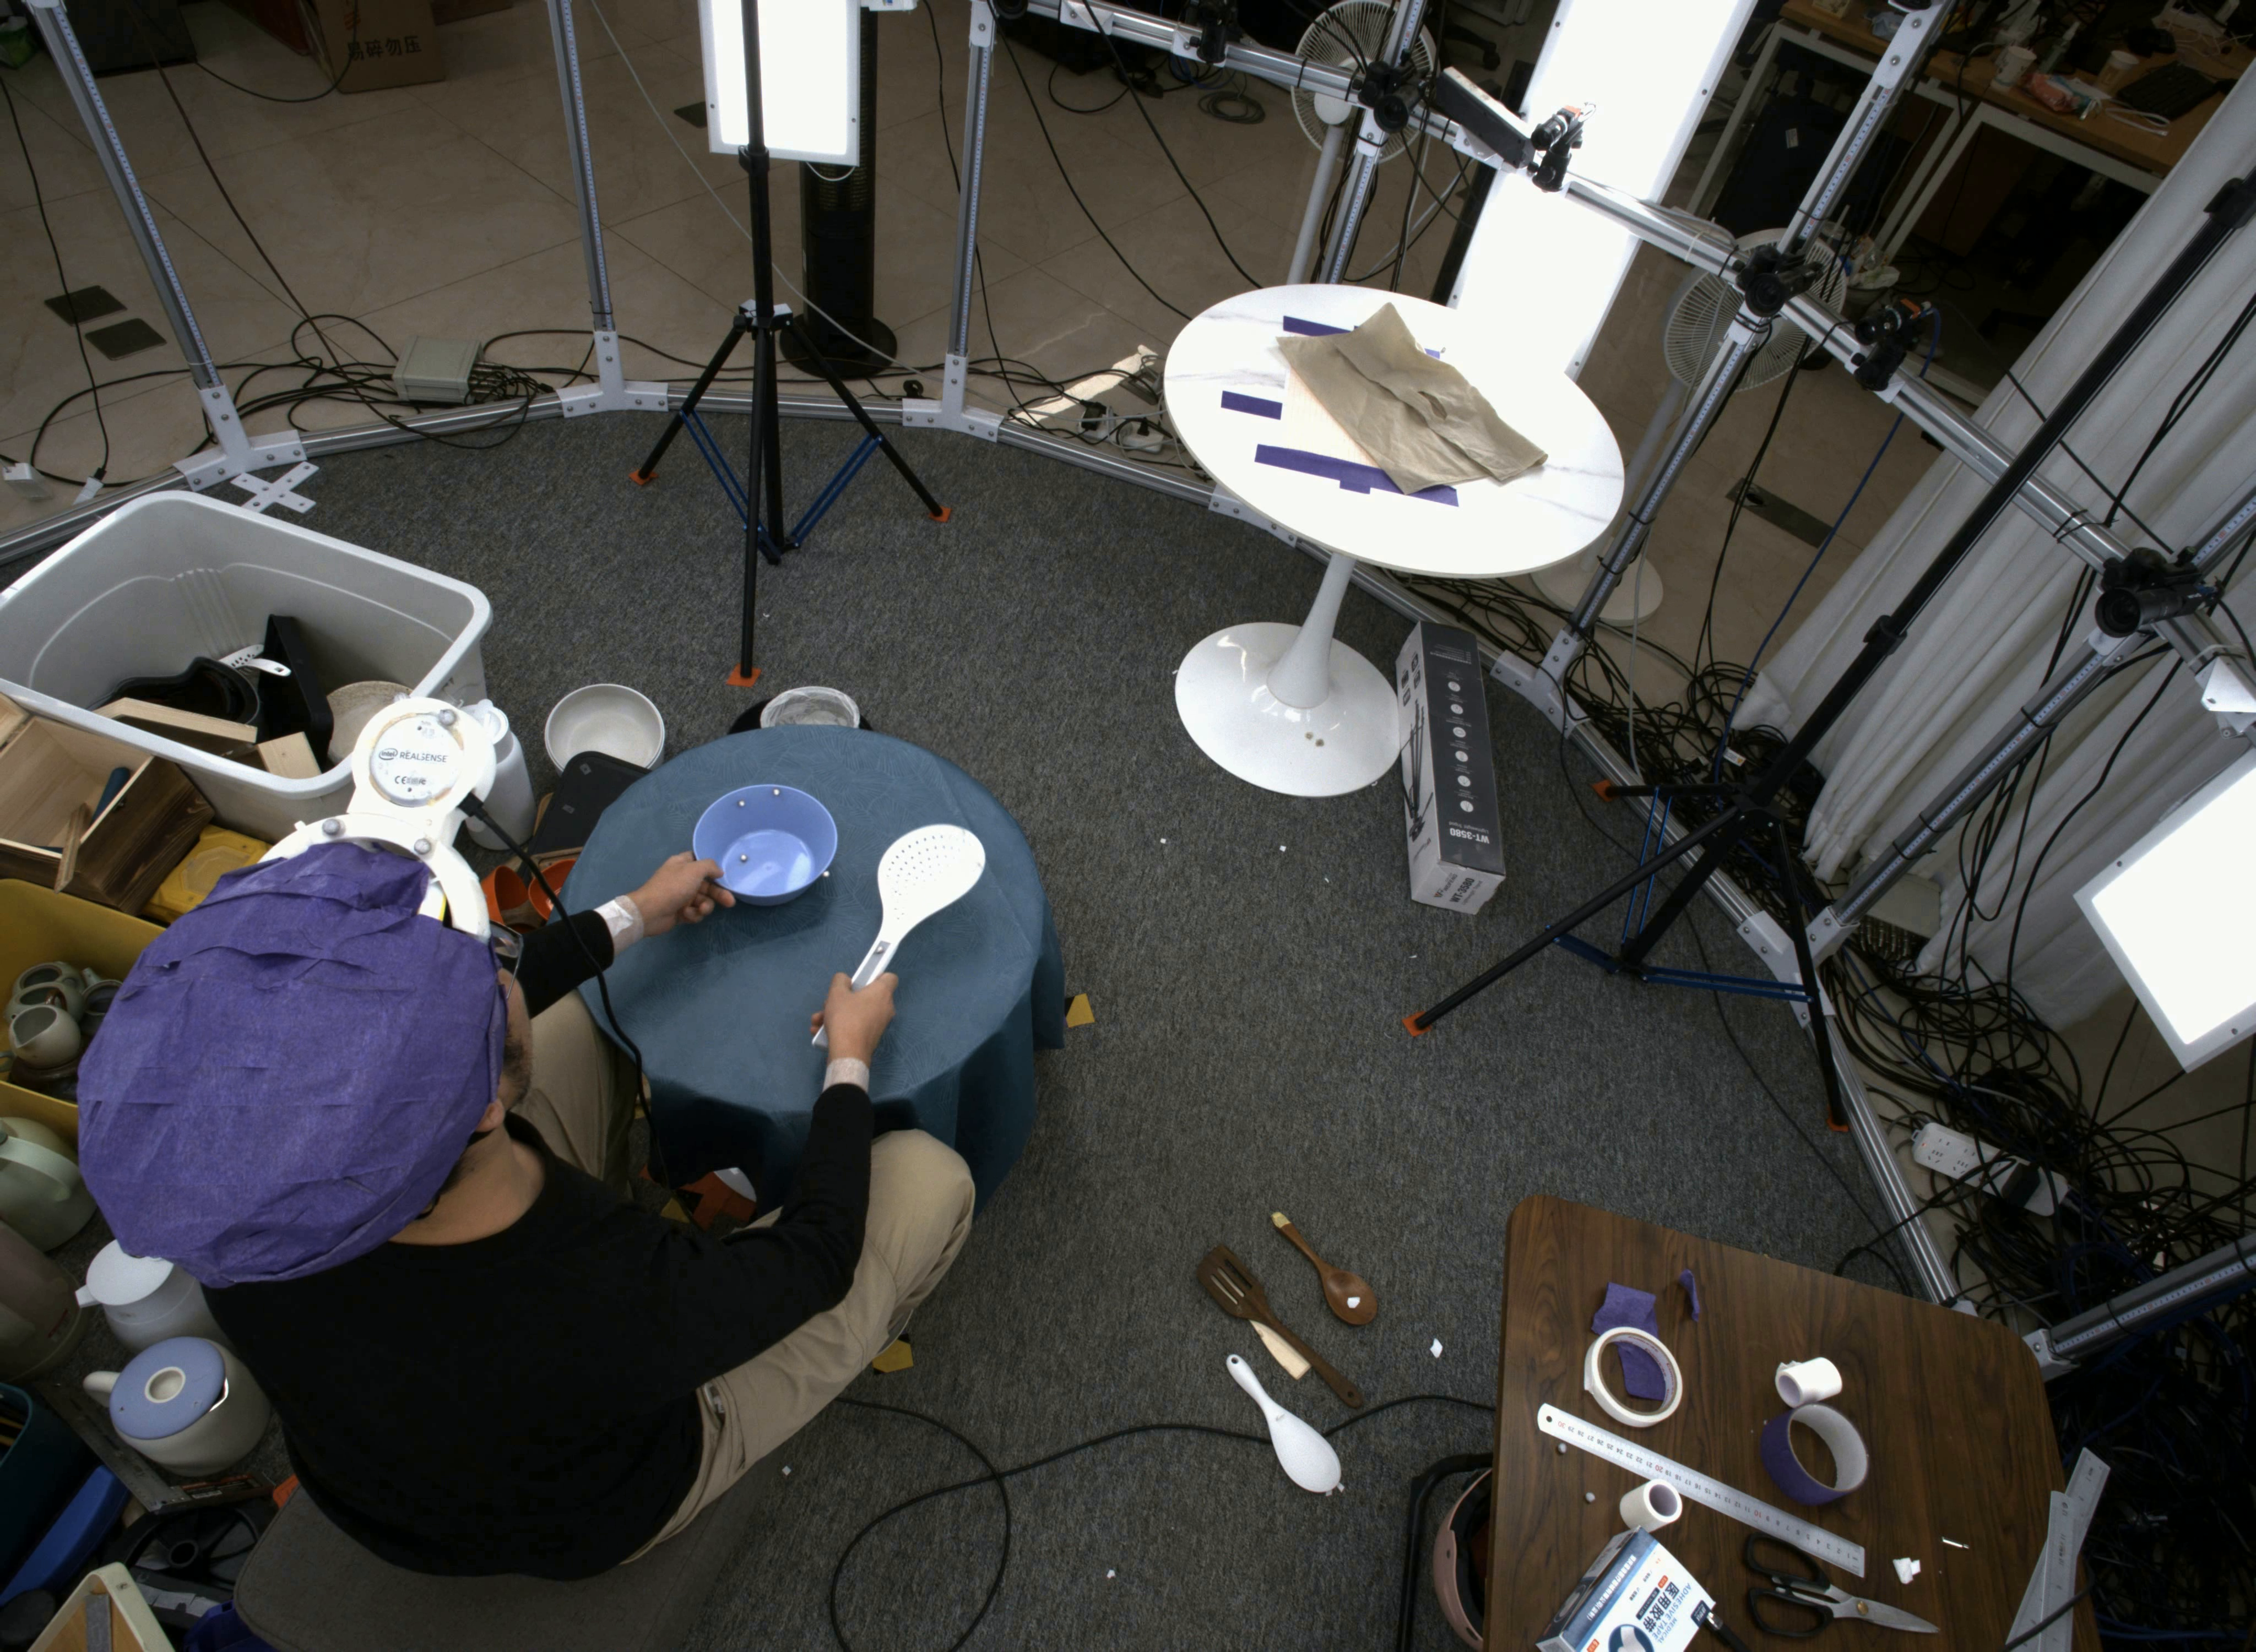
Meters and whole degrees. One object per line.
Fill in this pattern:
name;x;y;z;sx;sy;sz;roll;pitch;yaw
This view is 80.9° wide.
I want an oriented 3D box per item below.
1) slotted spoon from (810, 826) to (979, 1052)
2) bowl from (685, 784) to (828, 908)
slotted spoon;-0.290;0.128;1.576;0.132;0.047;0.347;13;44;16
bowl;-0.467;0.035;1.636;0.176;0.071;0.173;8;53;-9
